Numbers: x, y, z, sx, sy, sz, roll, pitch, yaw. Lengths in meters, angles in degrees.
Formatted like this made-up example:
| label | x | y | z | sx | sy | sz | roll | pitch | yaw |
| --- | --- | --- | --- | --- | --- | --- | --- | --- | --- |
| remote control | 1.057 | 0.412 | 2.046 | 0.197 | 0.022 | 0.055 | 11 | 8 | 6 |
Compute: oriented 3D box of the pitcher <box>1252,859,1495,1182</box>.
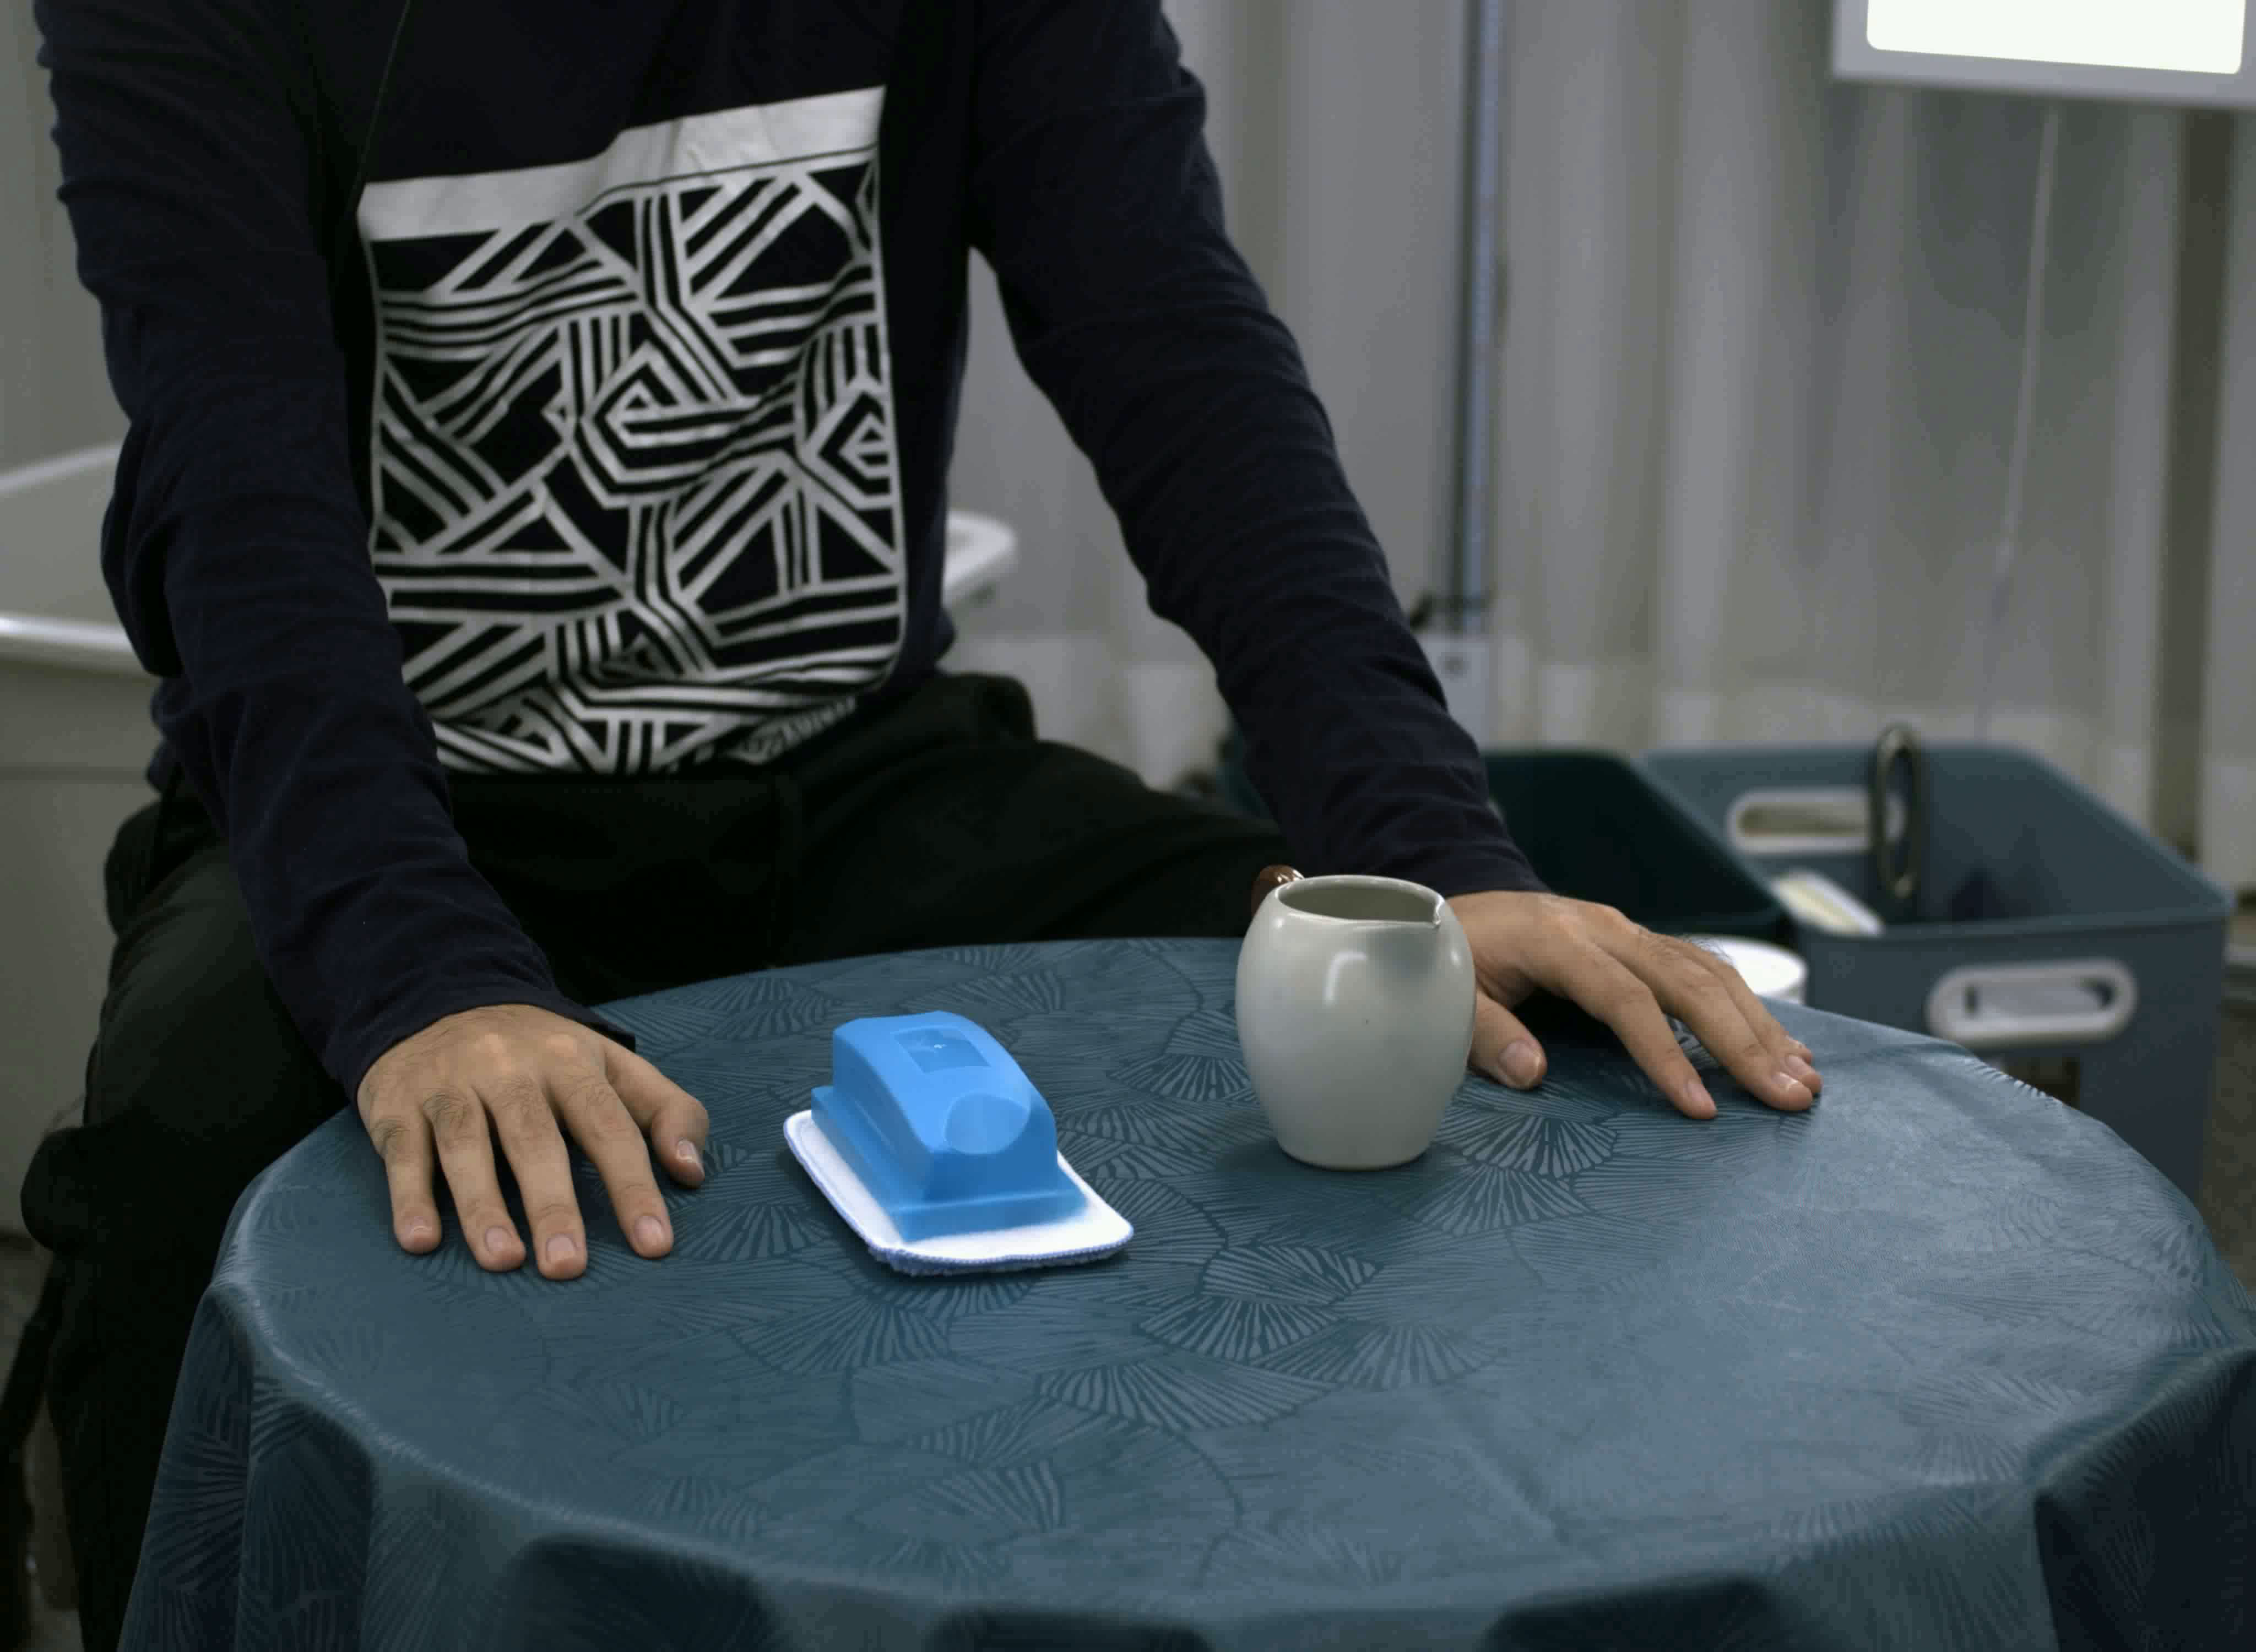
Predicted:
| label | x | y | z | sx | sy | sz | roll | pitch | yaw |
| --- | --- | --- | --- | --- | --- | --- | --- | --- | --- |
| pitcher | 0.073 | 0.060 | 1.653 | 0.076 | 0.088 | 0.118 | 0 | 19 | -21 |

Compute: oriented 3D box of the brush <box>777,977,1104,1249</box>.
| label | x | y | z | sx | sy | sz | roll | pitch | yaw |
| --- | --- | --- | --- | --- | --- | --- | --- | --- | --- |
| brush | -0.056 | 0.085 | 1.610 | 0.084 | 0.056 | 0.142 | -1 | 18 | -15 |
